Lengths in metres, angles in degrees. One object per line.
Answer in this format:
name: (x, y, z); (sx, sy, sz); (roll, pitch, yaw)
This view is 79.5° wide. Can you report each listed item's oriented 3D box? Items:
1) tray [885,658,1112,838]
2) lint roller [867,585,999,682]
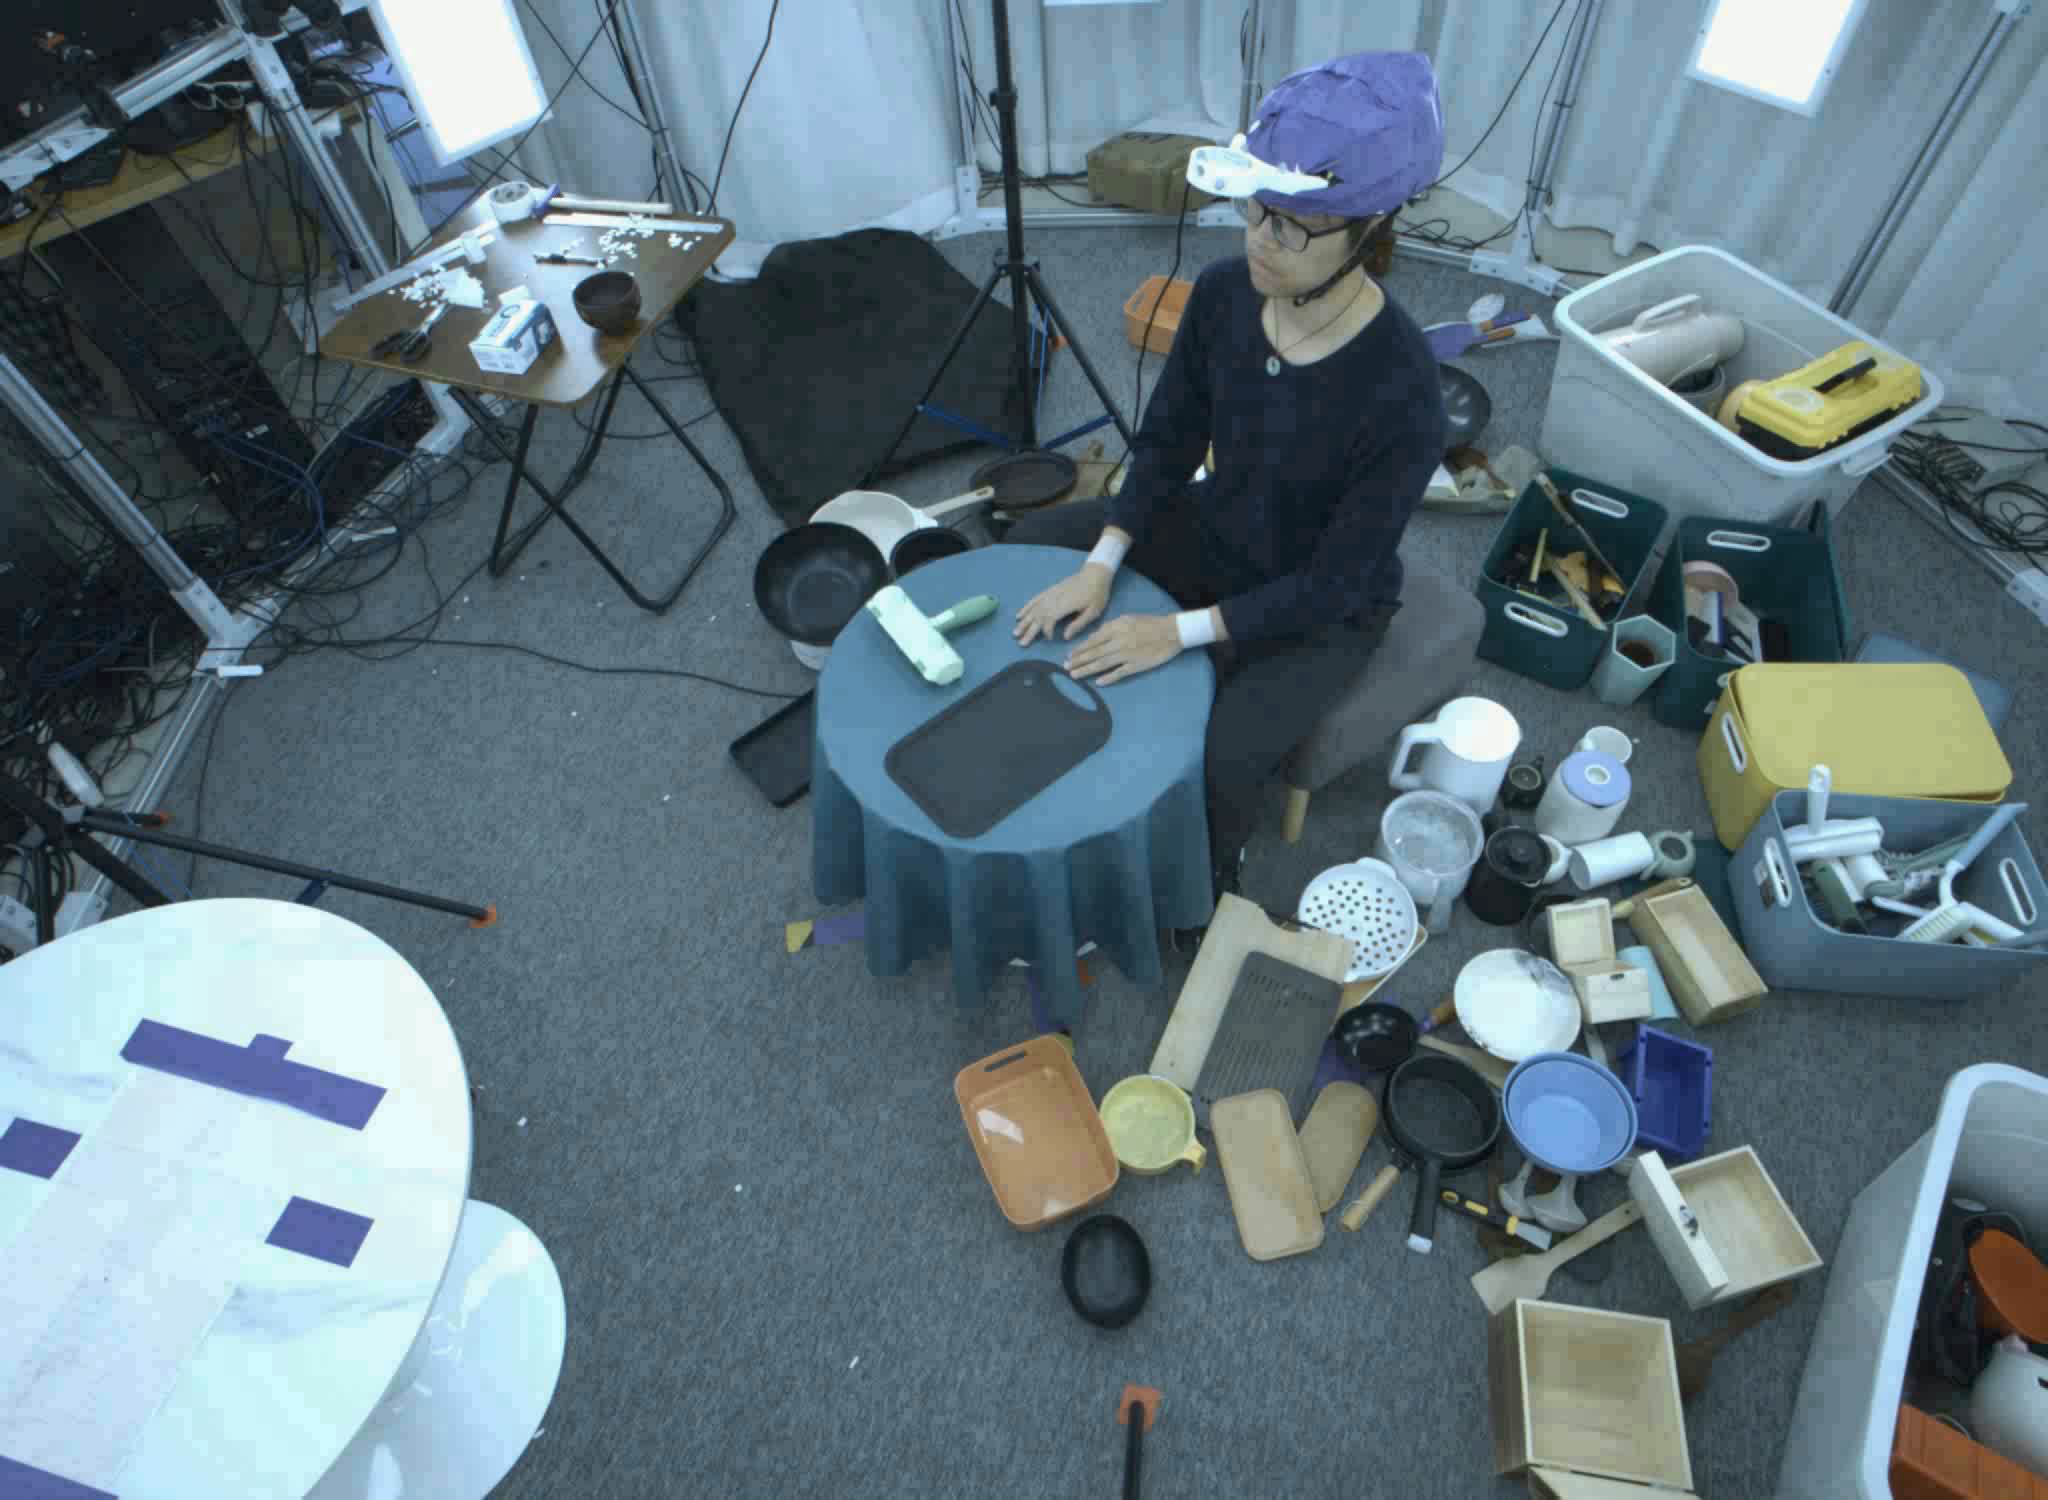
tray: (-0.031, -0.015, 1.795); (0.328, 0.010, 0.207); (-35, 61, -21)
lint roller: (-0.121, -0.215, 1.890); (0.184, 0.083, 0.195); (-34, 61, -12)
